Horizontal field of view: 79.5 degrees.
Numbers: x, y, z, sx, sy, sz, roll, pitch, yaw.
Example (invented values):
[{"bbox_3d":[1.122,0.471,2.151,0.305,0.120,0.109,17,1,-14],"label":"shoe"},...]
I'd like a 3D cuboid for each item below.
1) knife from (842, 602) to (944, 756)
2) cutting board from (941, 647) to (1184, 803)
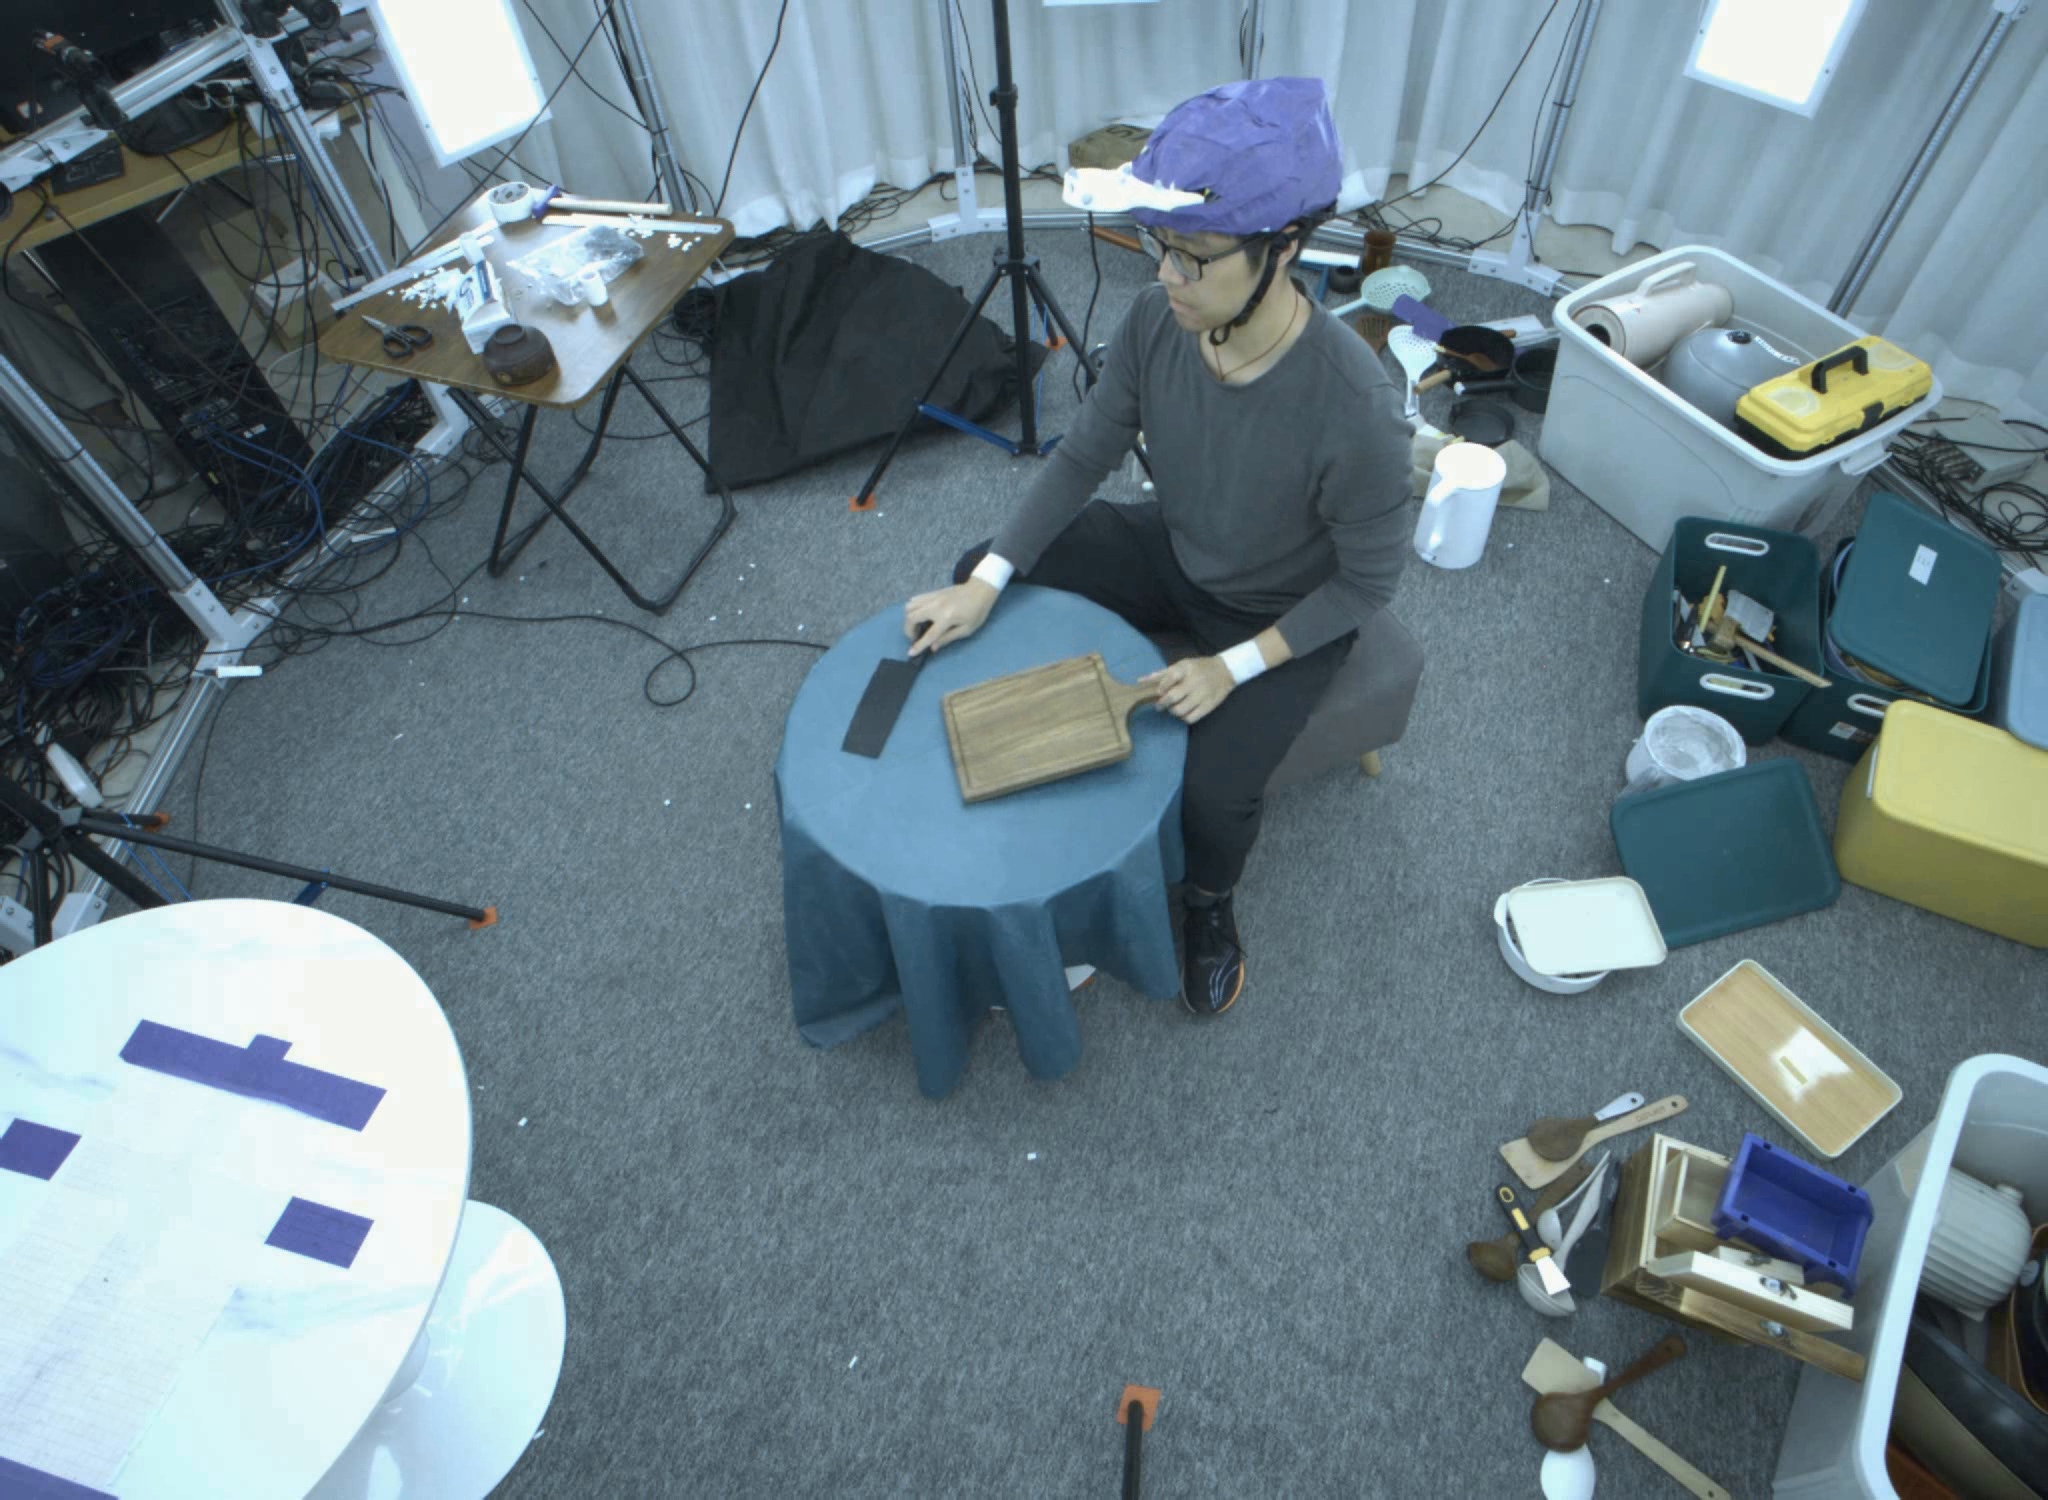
[{"bbox_3d":[-0.195,-0.113,1.873,0.080,0.021,0.302,16,58,15],"label":"knife"},{"bbox_3d":[0.064,-0.053,1.791,0.352,0.023,0.198,-16,56,-1],"label":"cutting board"}]
